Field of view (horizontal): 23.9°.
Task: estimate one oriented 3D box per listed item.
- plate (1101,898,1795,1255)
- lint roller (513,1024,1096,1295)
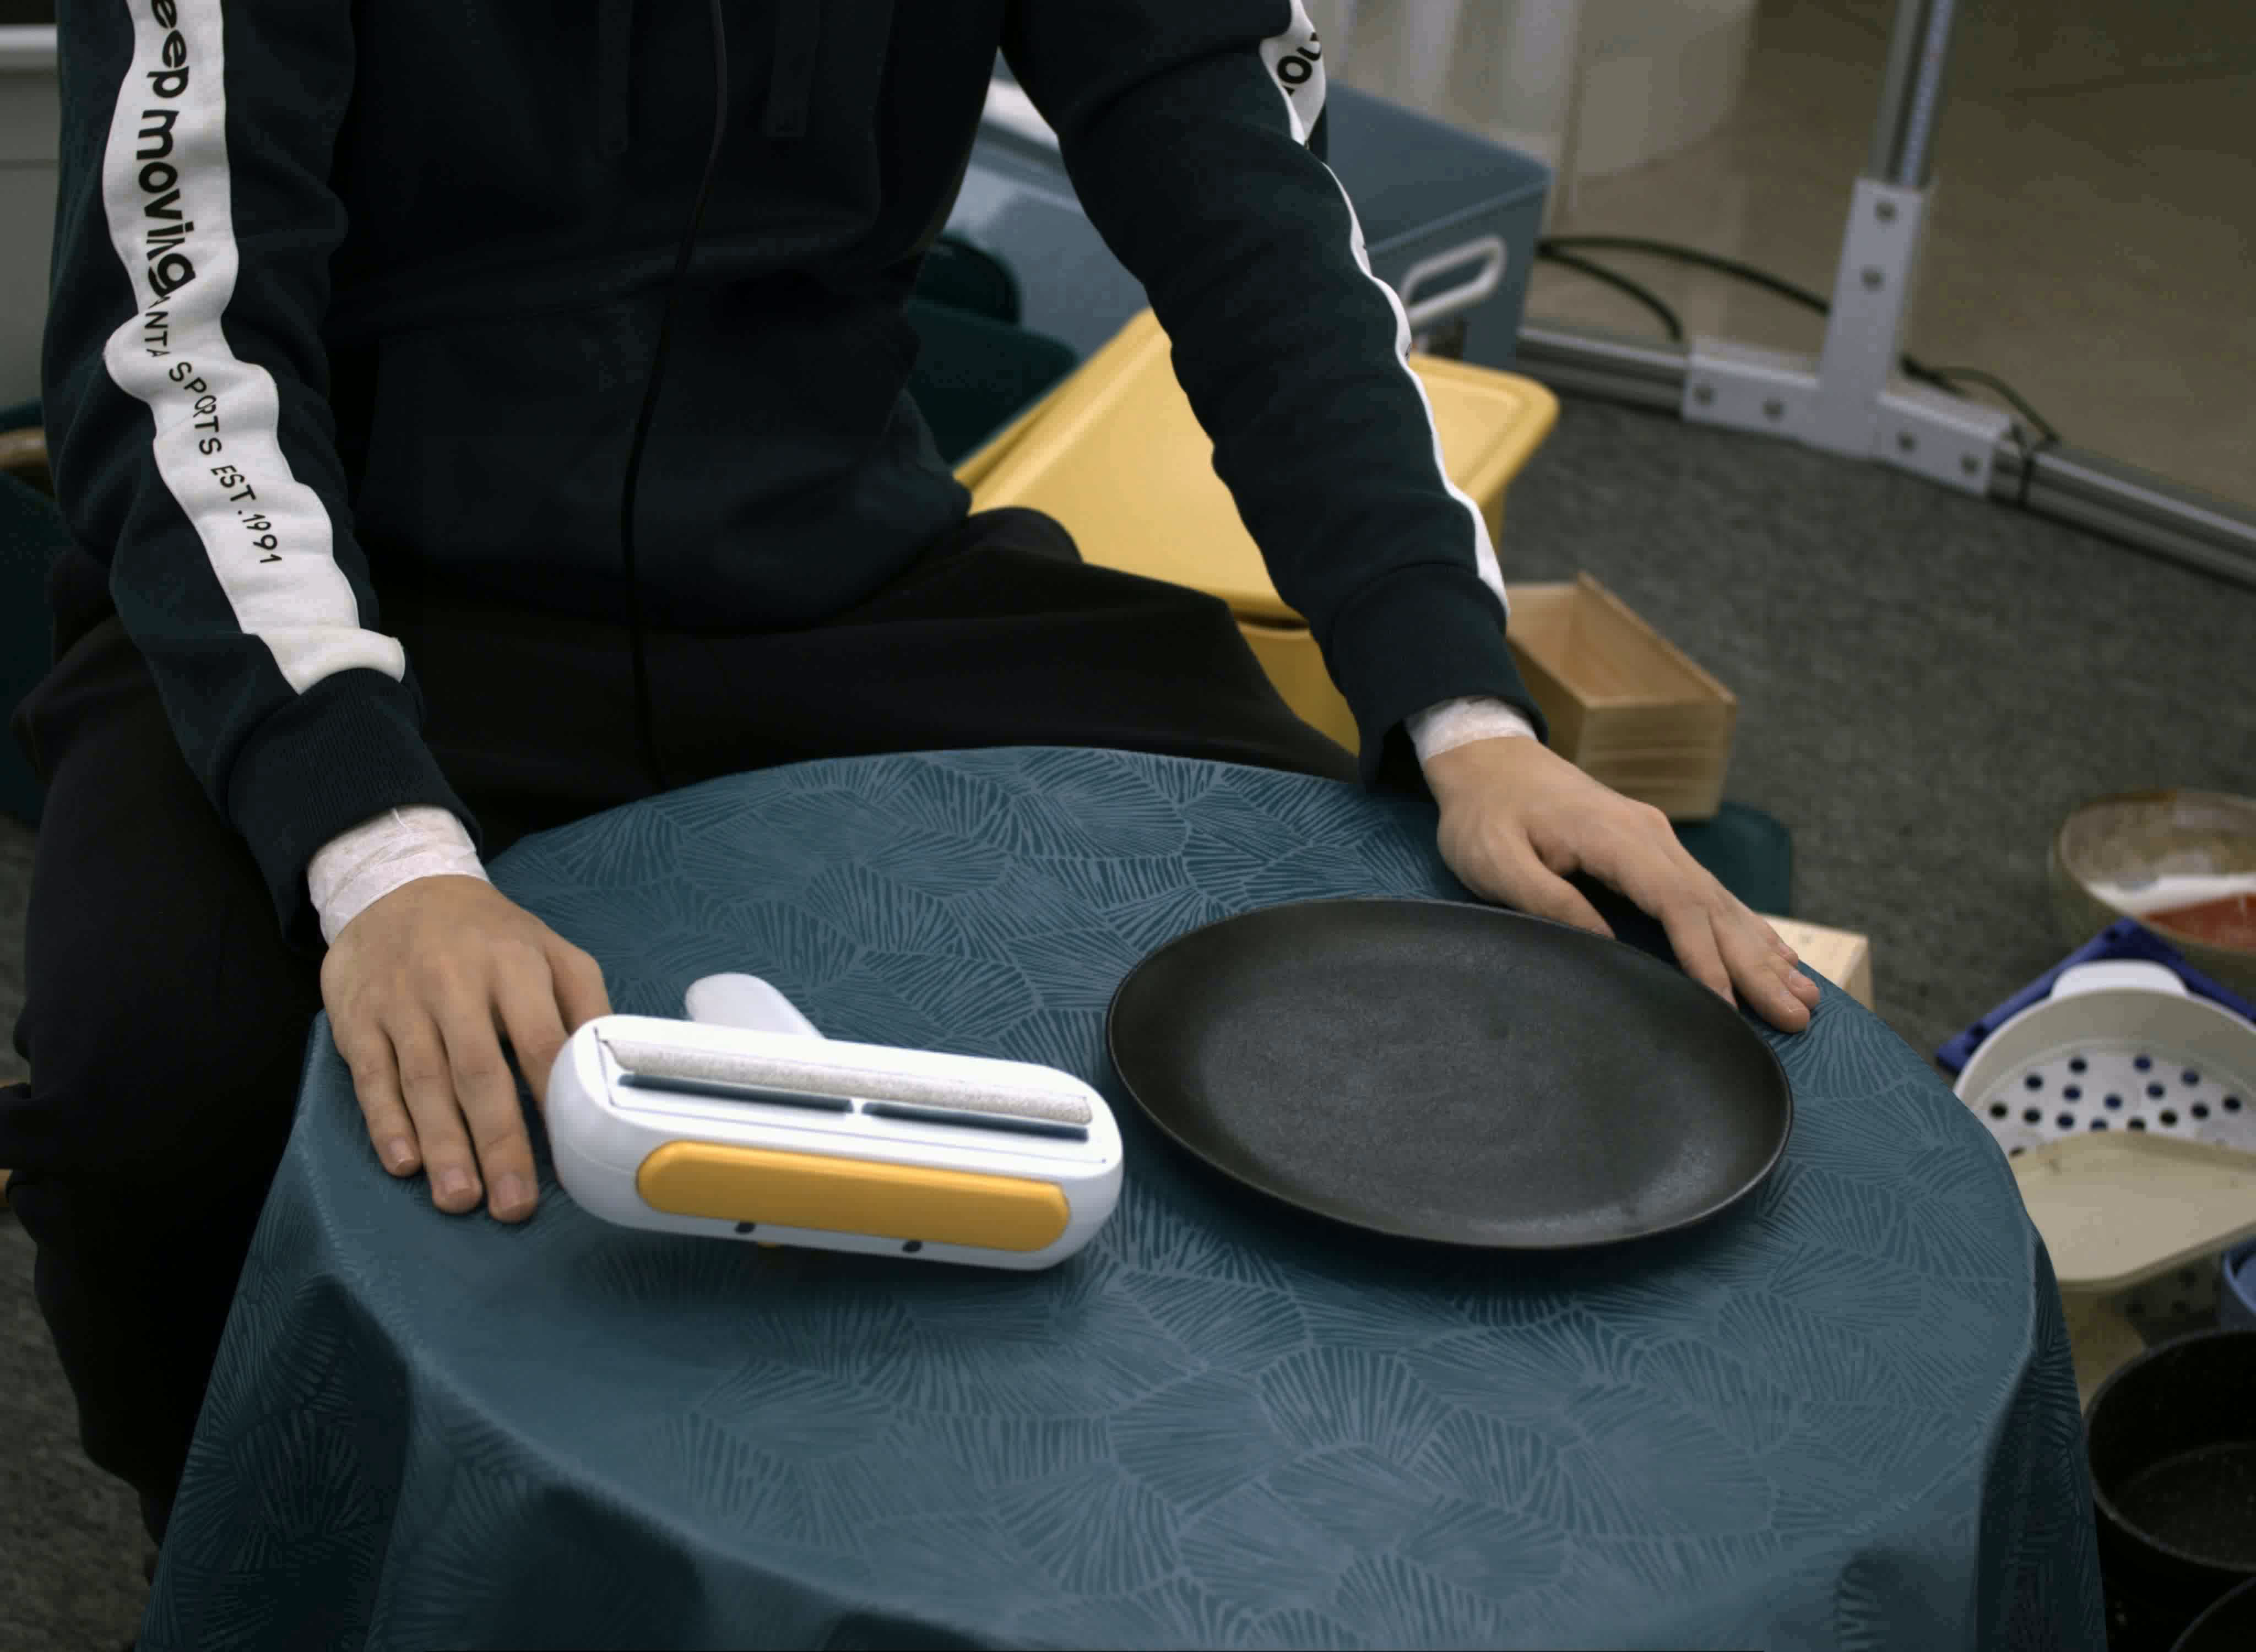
[{"bbox_3d":[0.111,0.092,1.860,0.243,0.023,0.246,5,27,-3],"label":"plate"},{"bbox_3d":[-0.117,0.102,1.783,0.192,0.074,0.193,7,11,-13],"label":"lint roller"}]
